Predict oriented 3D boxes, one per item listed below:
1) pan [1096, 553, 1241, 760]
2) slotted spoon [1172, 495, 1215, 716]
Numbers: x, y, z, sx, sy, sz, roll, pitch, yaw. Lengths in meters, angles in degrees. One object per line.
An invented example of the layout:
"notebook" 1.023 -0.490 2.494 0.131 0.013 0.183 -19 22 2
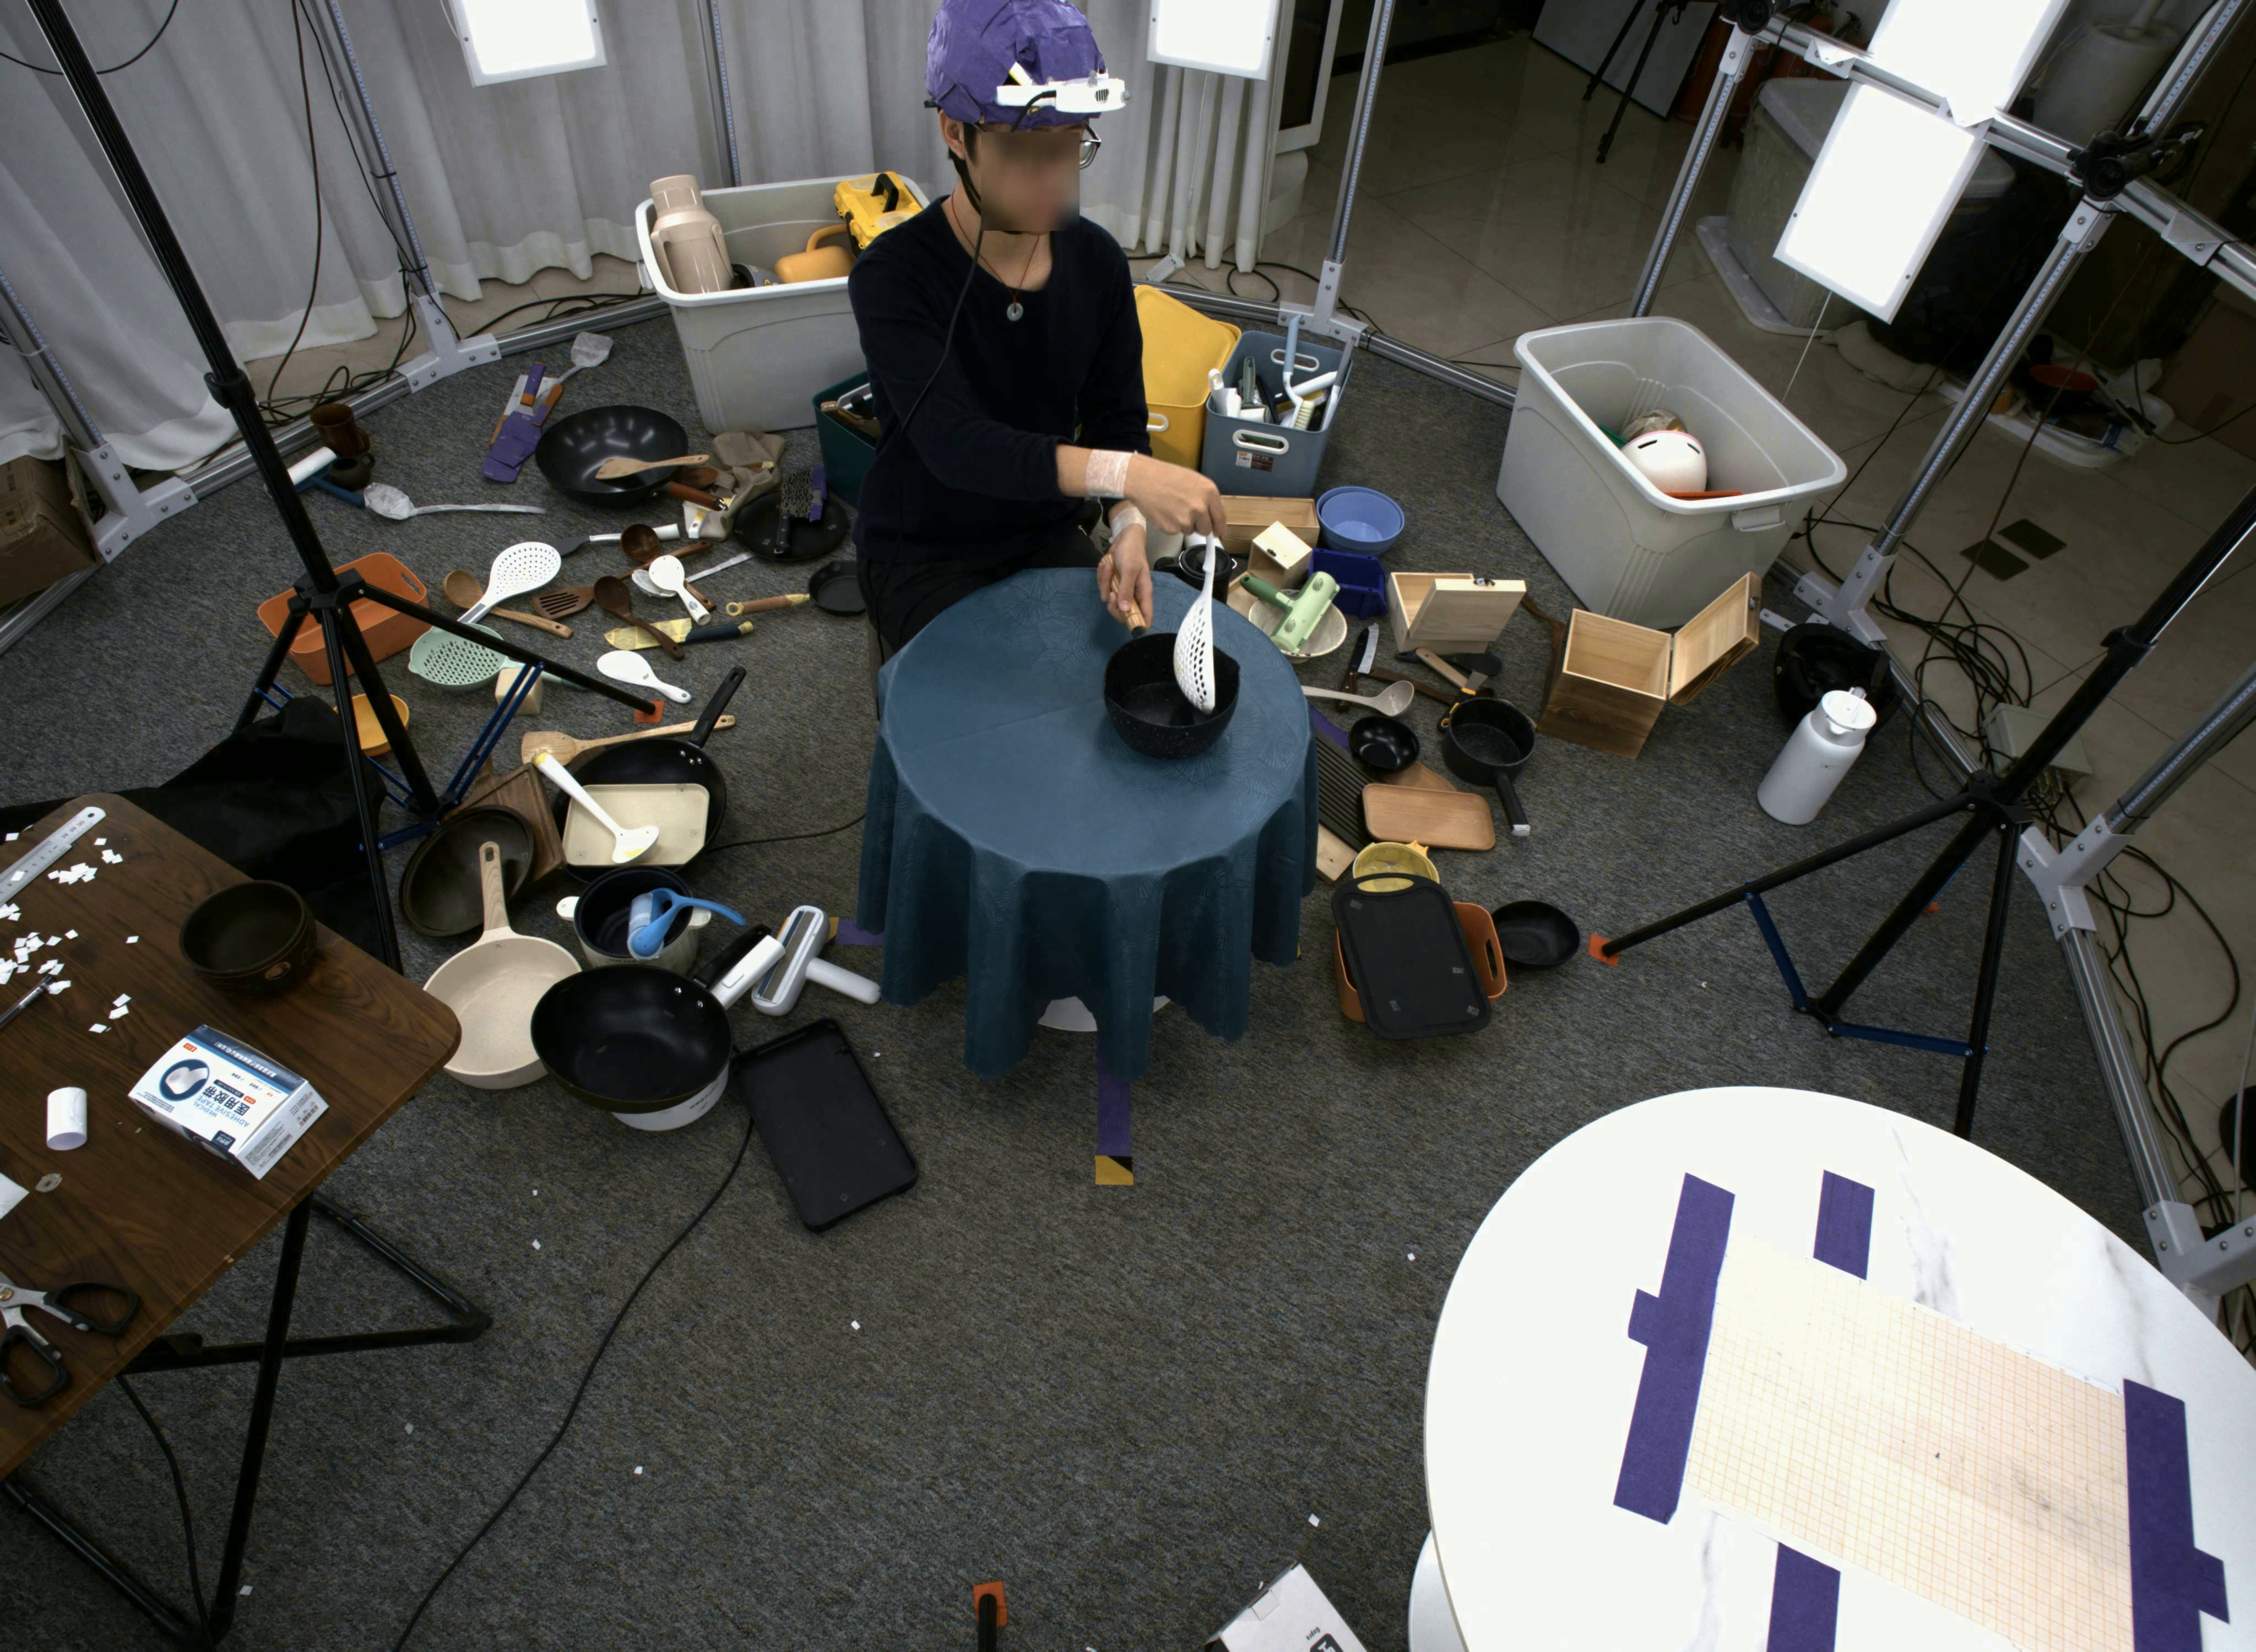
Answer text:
"pan" 0.028 -0.239 1.809 0.207 0.105 0.351 -16 53 -16
"slotted spoon" 0.092 -0.288 1.666 0.050 0.340 0.140 -5 50 -12
